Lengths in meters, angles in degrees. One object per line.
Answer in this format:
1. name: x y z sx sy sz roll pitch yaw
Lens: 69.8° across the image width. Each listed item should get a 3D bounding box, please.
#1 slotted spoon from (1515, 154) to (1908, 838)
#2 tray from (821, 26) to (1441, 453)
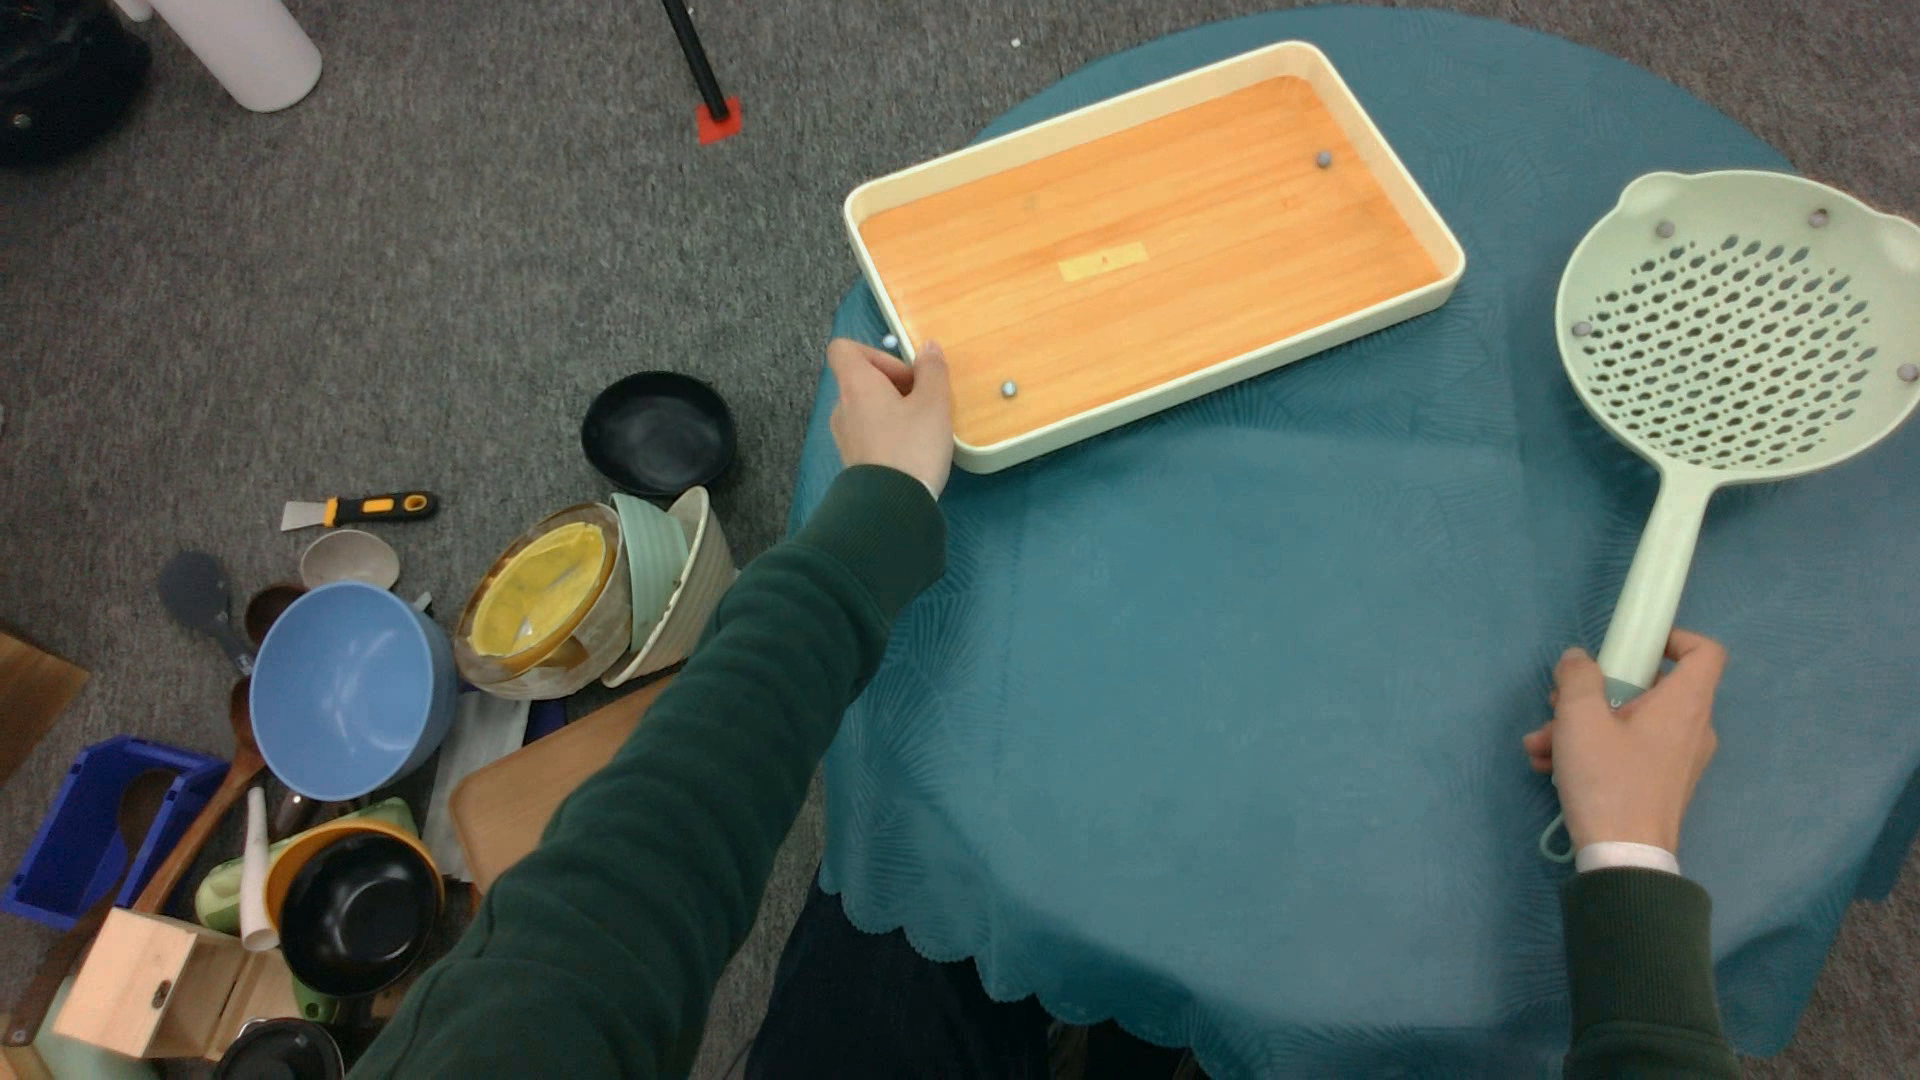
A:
1. slotted spoon: 0.334 -0.028 0.666 0.169 0.075 0.360 19 67 22
2. tray: 0.092 -0.173 0.762 0.301 0.027 0.192 -20 65 -9
